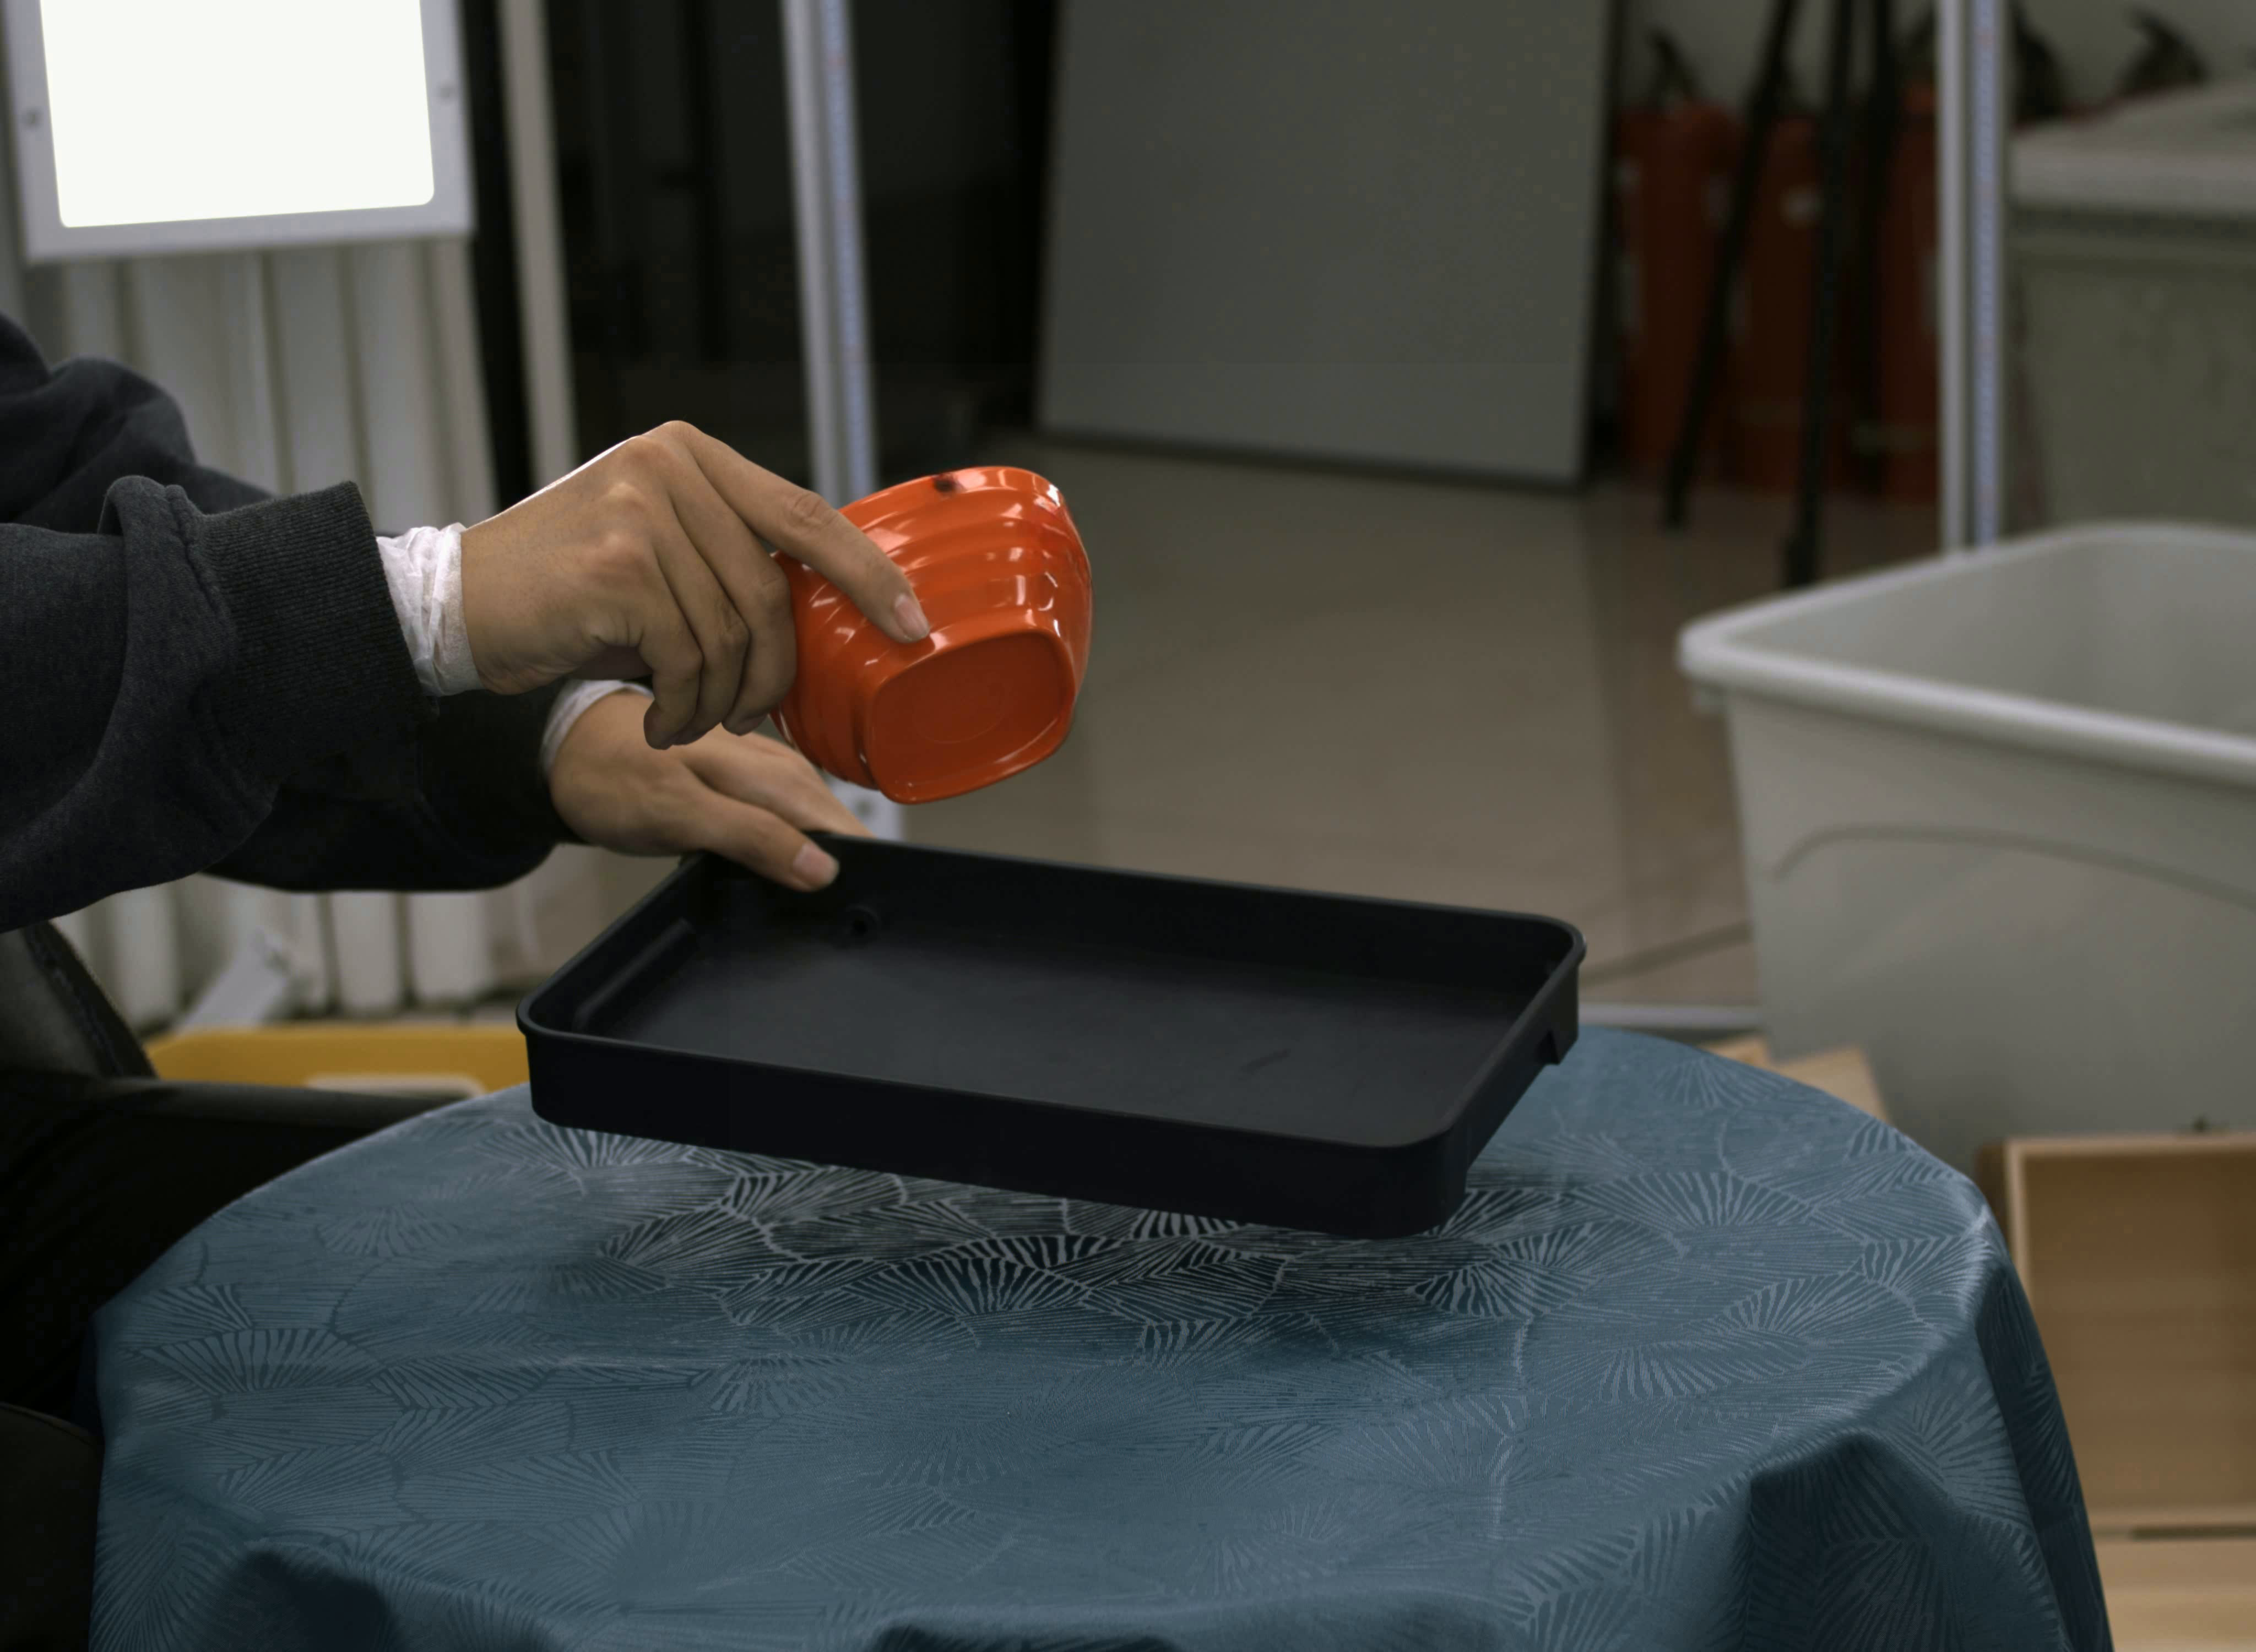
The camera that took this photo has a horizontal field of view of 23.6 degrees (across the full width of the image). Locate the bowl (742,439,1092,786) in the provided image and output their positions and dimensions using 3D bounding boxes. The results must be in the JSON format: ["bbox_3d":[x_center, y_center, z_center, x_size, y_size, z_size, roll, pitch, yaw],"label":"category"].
[{"bbox_3d":[-0.056,-0.055,1.614,0.116,0.120,0.052,-8,50,-21],"label":"bowl"}]

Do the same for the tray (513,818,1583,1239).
[{"bbox_3d":[-0.024,0.062,1.740,0.318,0.037,0.182,6,24,22],"label":"tray"}]
